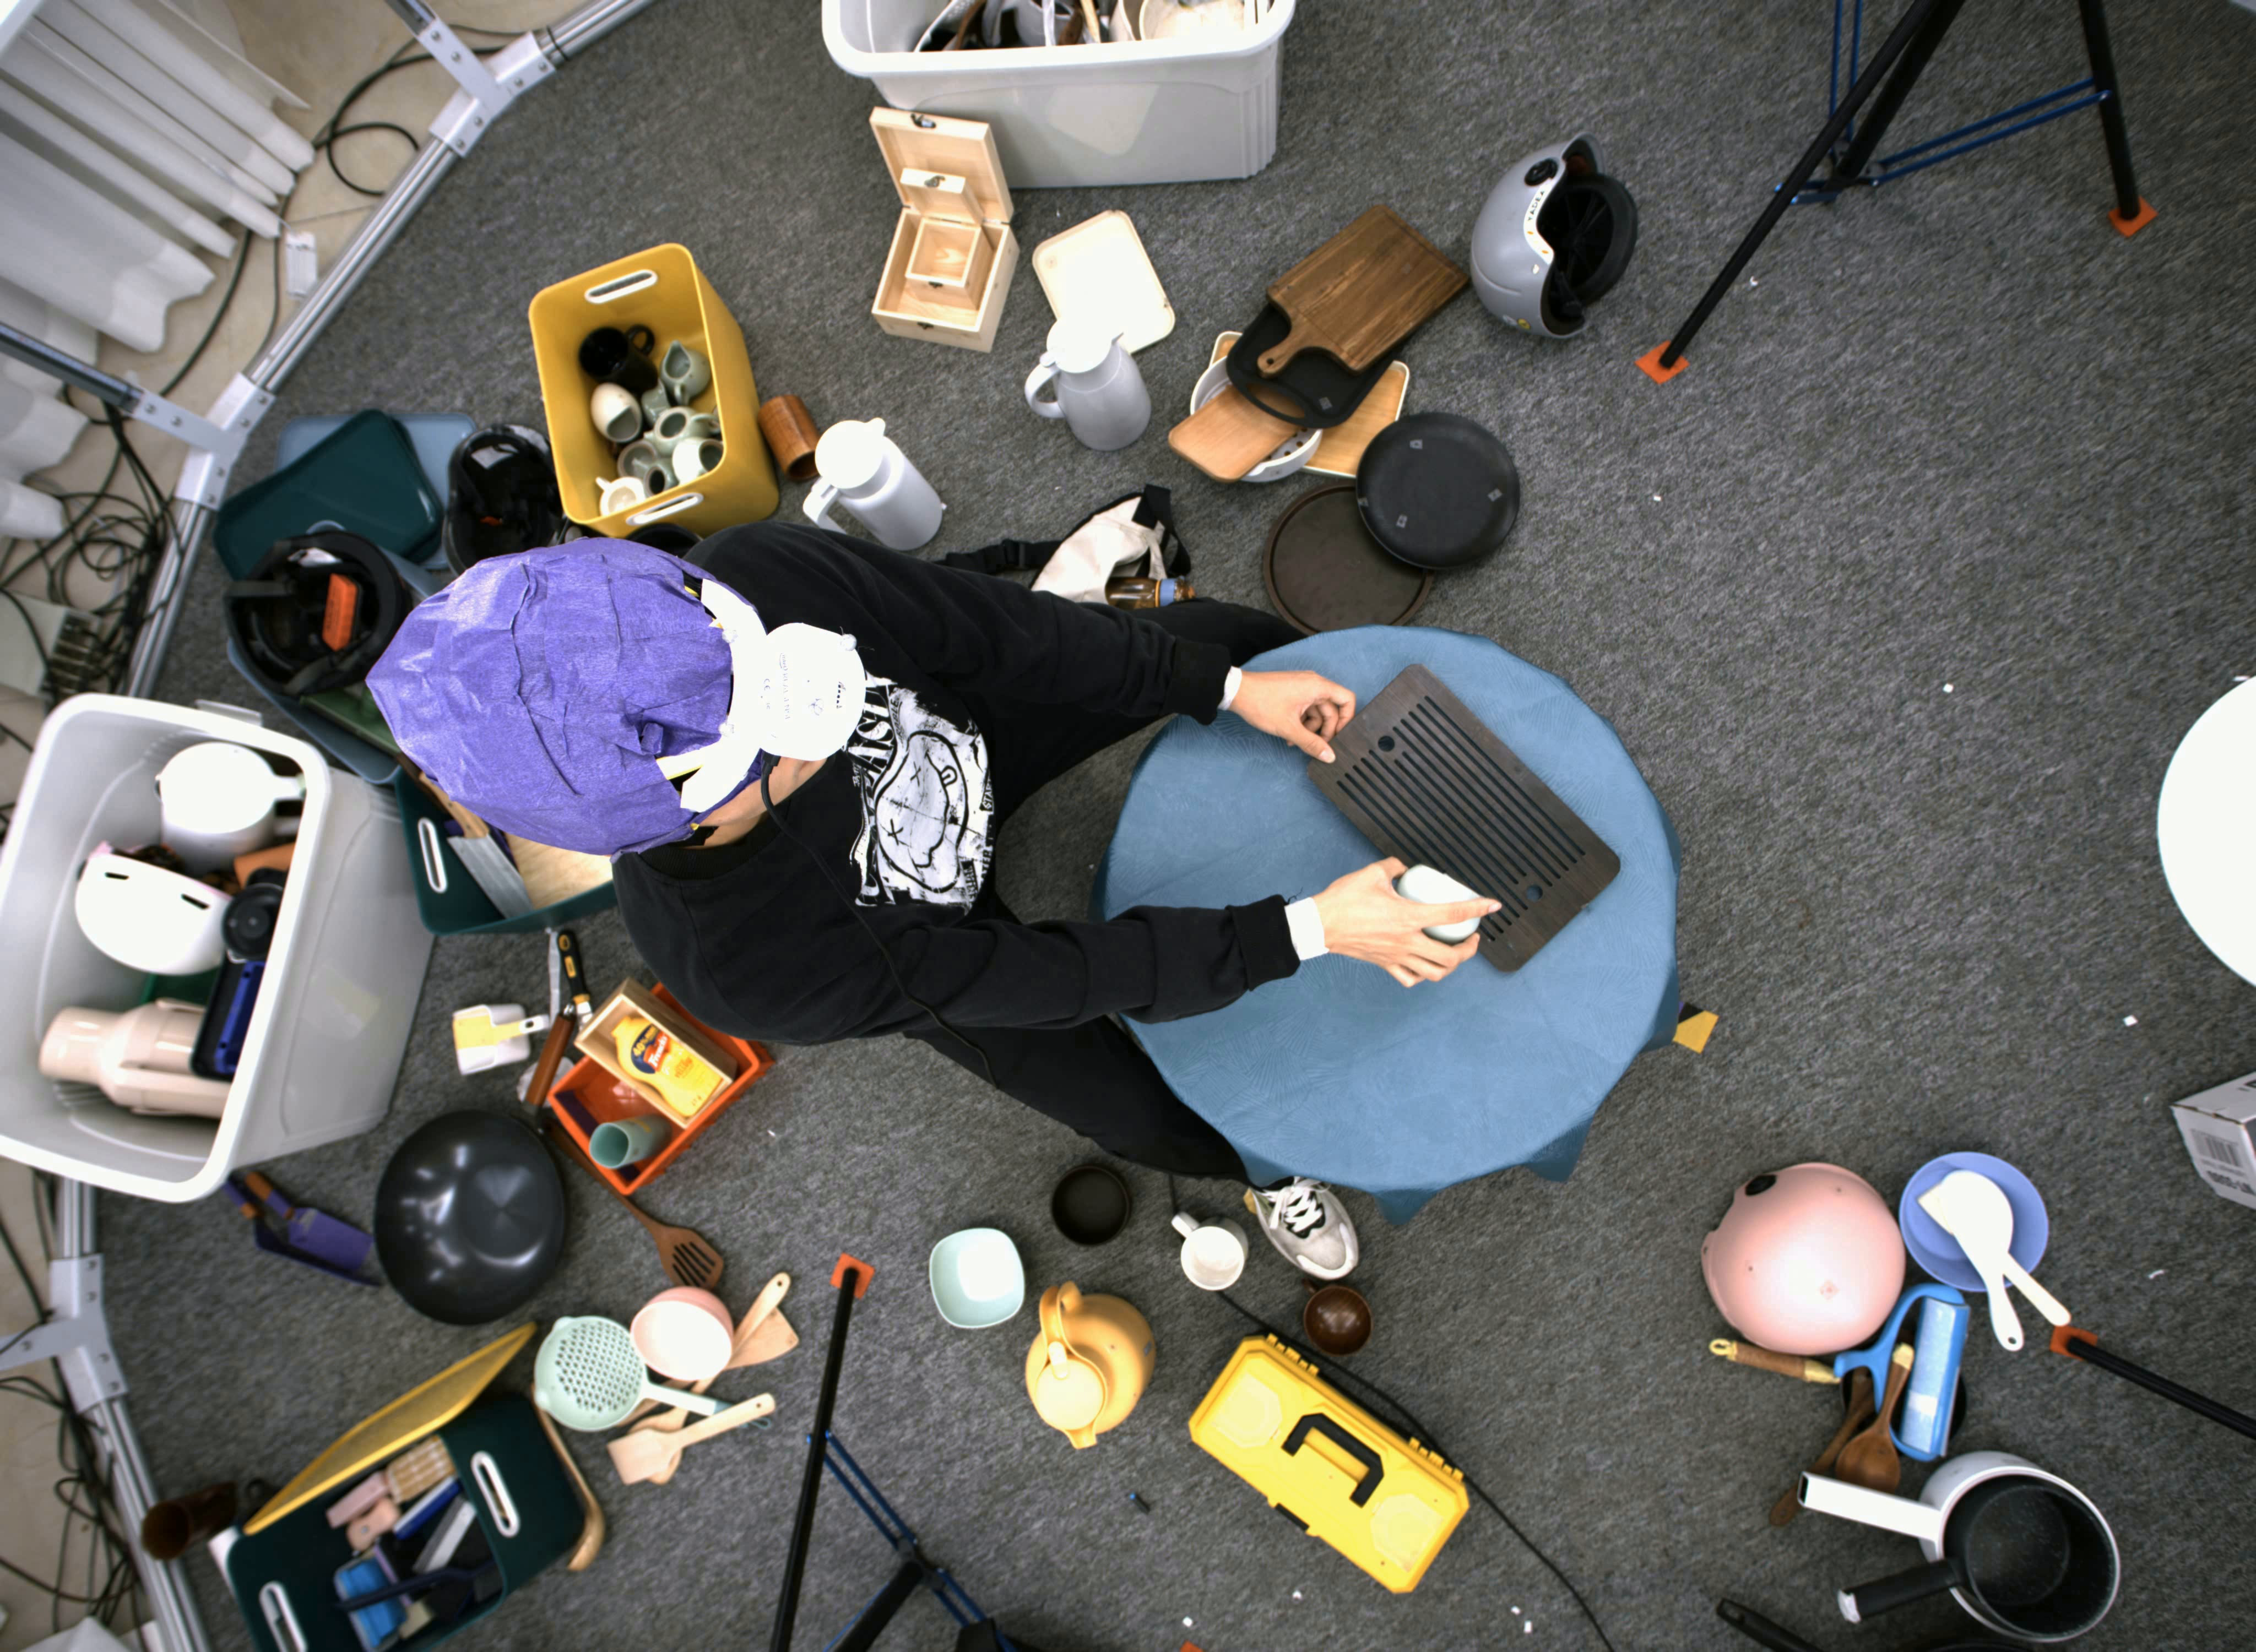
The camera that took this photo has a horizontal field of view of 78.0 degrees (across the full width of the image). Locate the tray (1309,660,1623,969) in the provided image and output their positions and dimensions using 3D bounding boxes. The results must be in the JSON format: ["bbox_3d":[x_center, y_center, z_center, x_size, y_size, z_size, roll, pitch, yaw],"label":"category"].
[{"bbox_3d":[0.349,-0.015,1.432,0.171,0.018,0.305,-44,84,6],"label":"tray"}]

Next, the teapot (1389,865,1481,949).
[{"bbox_3d":[0.297,0.075,1.329,0.088,0.144,0.075,29,91,12],"label":"teapot"}]
